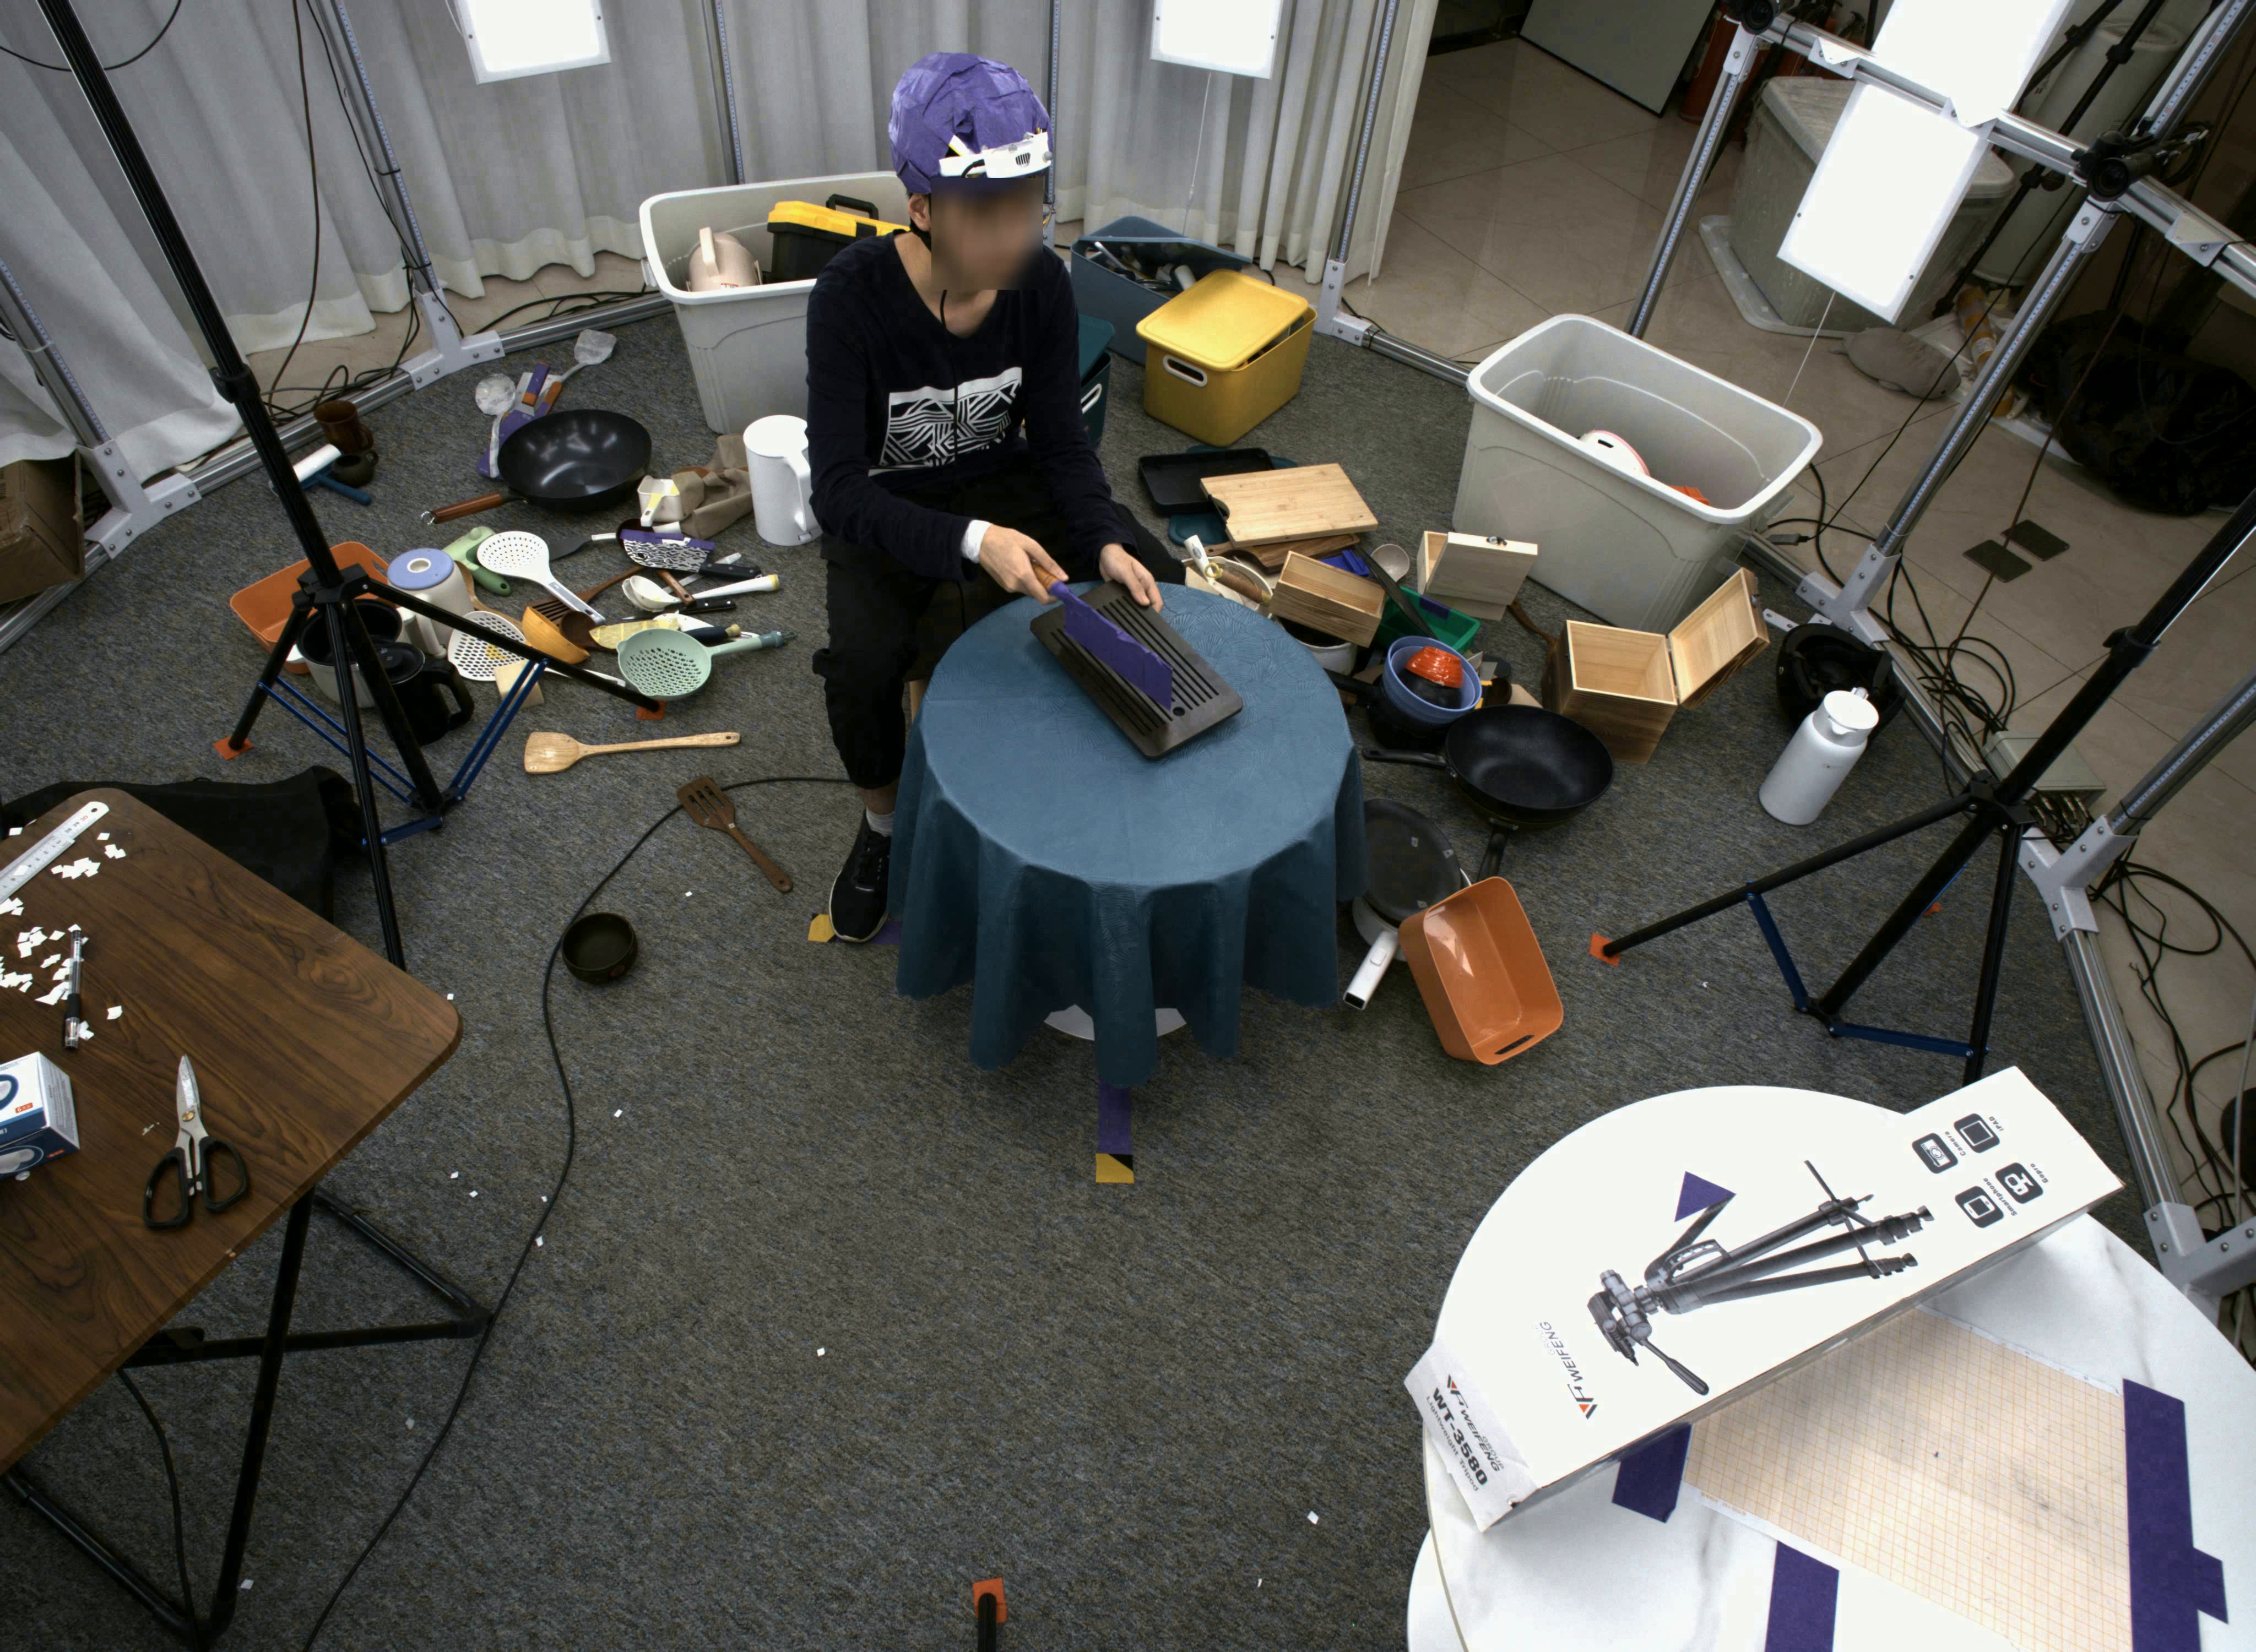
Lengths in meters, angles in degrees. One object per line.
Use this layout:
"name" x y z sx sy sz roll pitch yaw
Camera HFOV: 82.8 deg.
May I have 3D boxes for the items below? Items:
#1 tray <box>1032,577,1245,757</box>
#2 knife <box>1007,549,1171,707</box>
"tray" 0.012 -0.232 1.838 0.171 0.018 0.311 -30 60 -20
"knife" -0.056 -0.271 1.788 0.032 0.101 0.320 -36 61 -24
